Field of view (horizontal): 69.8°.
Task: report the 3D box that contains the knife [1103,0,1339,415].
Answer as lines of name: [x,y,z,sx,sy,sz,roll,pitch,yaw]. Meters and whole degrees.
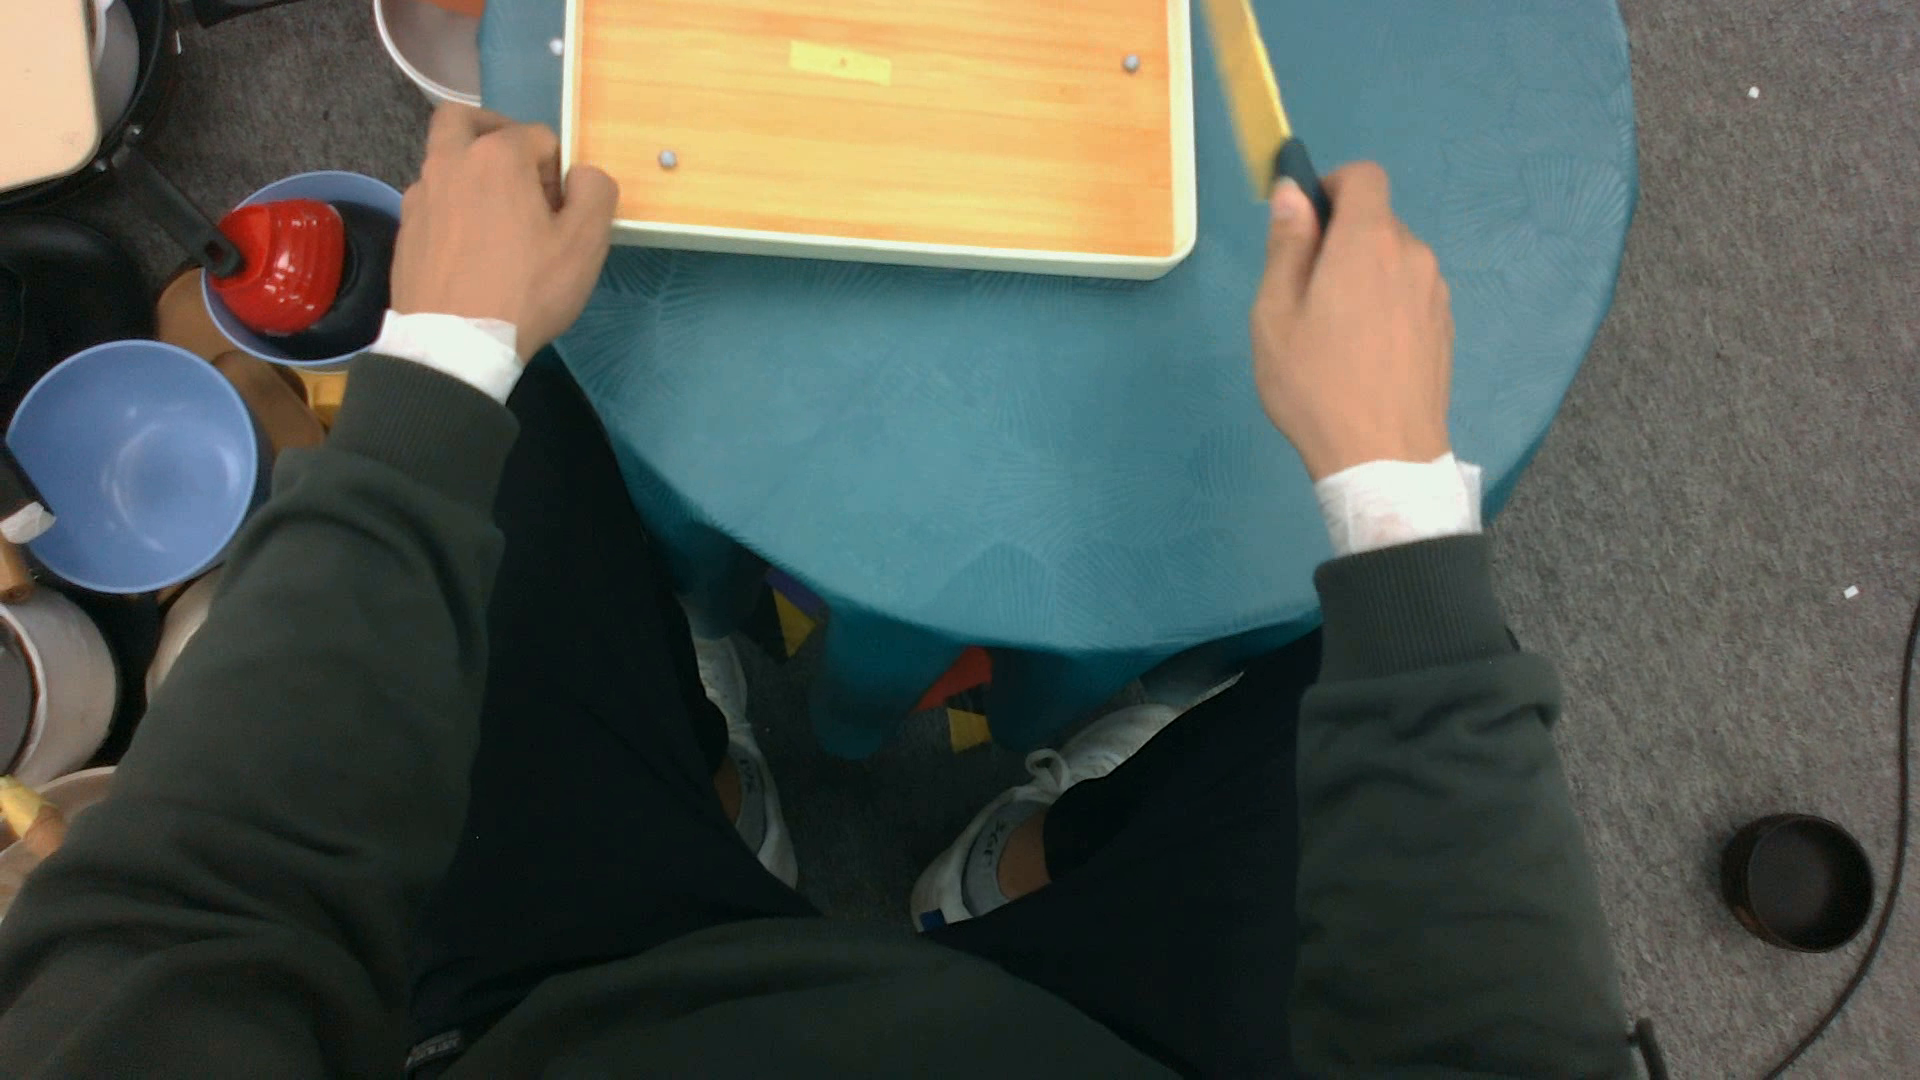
knife: [0.096,-0.186,0.595,0.027,0.081,0.289,-23,89,-8]

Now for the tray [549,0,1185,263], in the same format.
tray: [-0.039,-0.236,0.665,0.300,0.027,0.192,1,81,-12]
